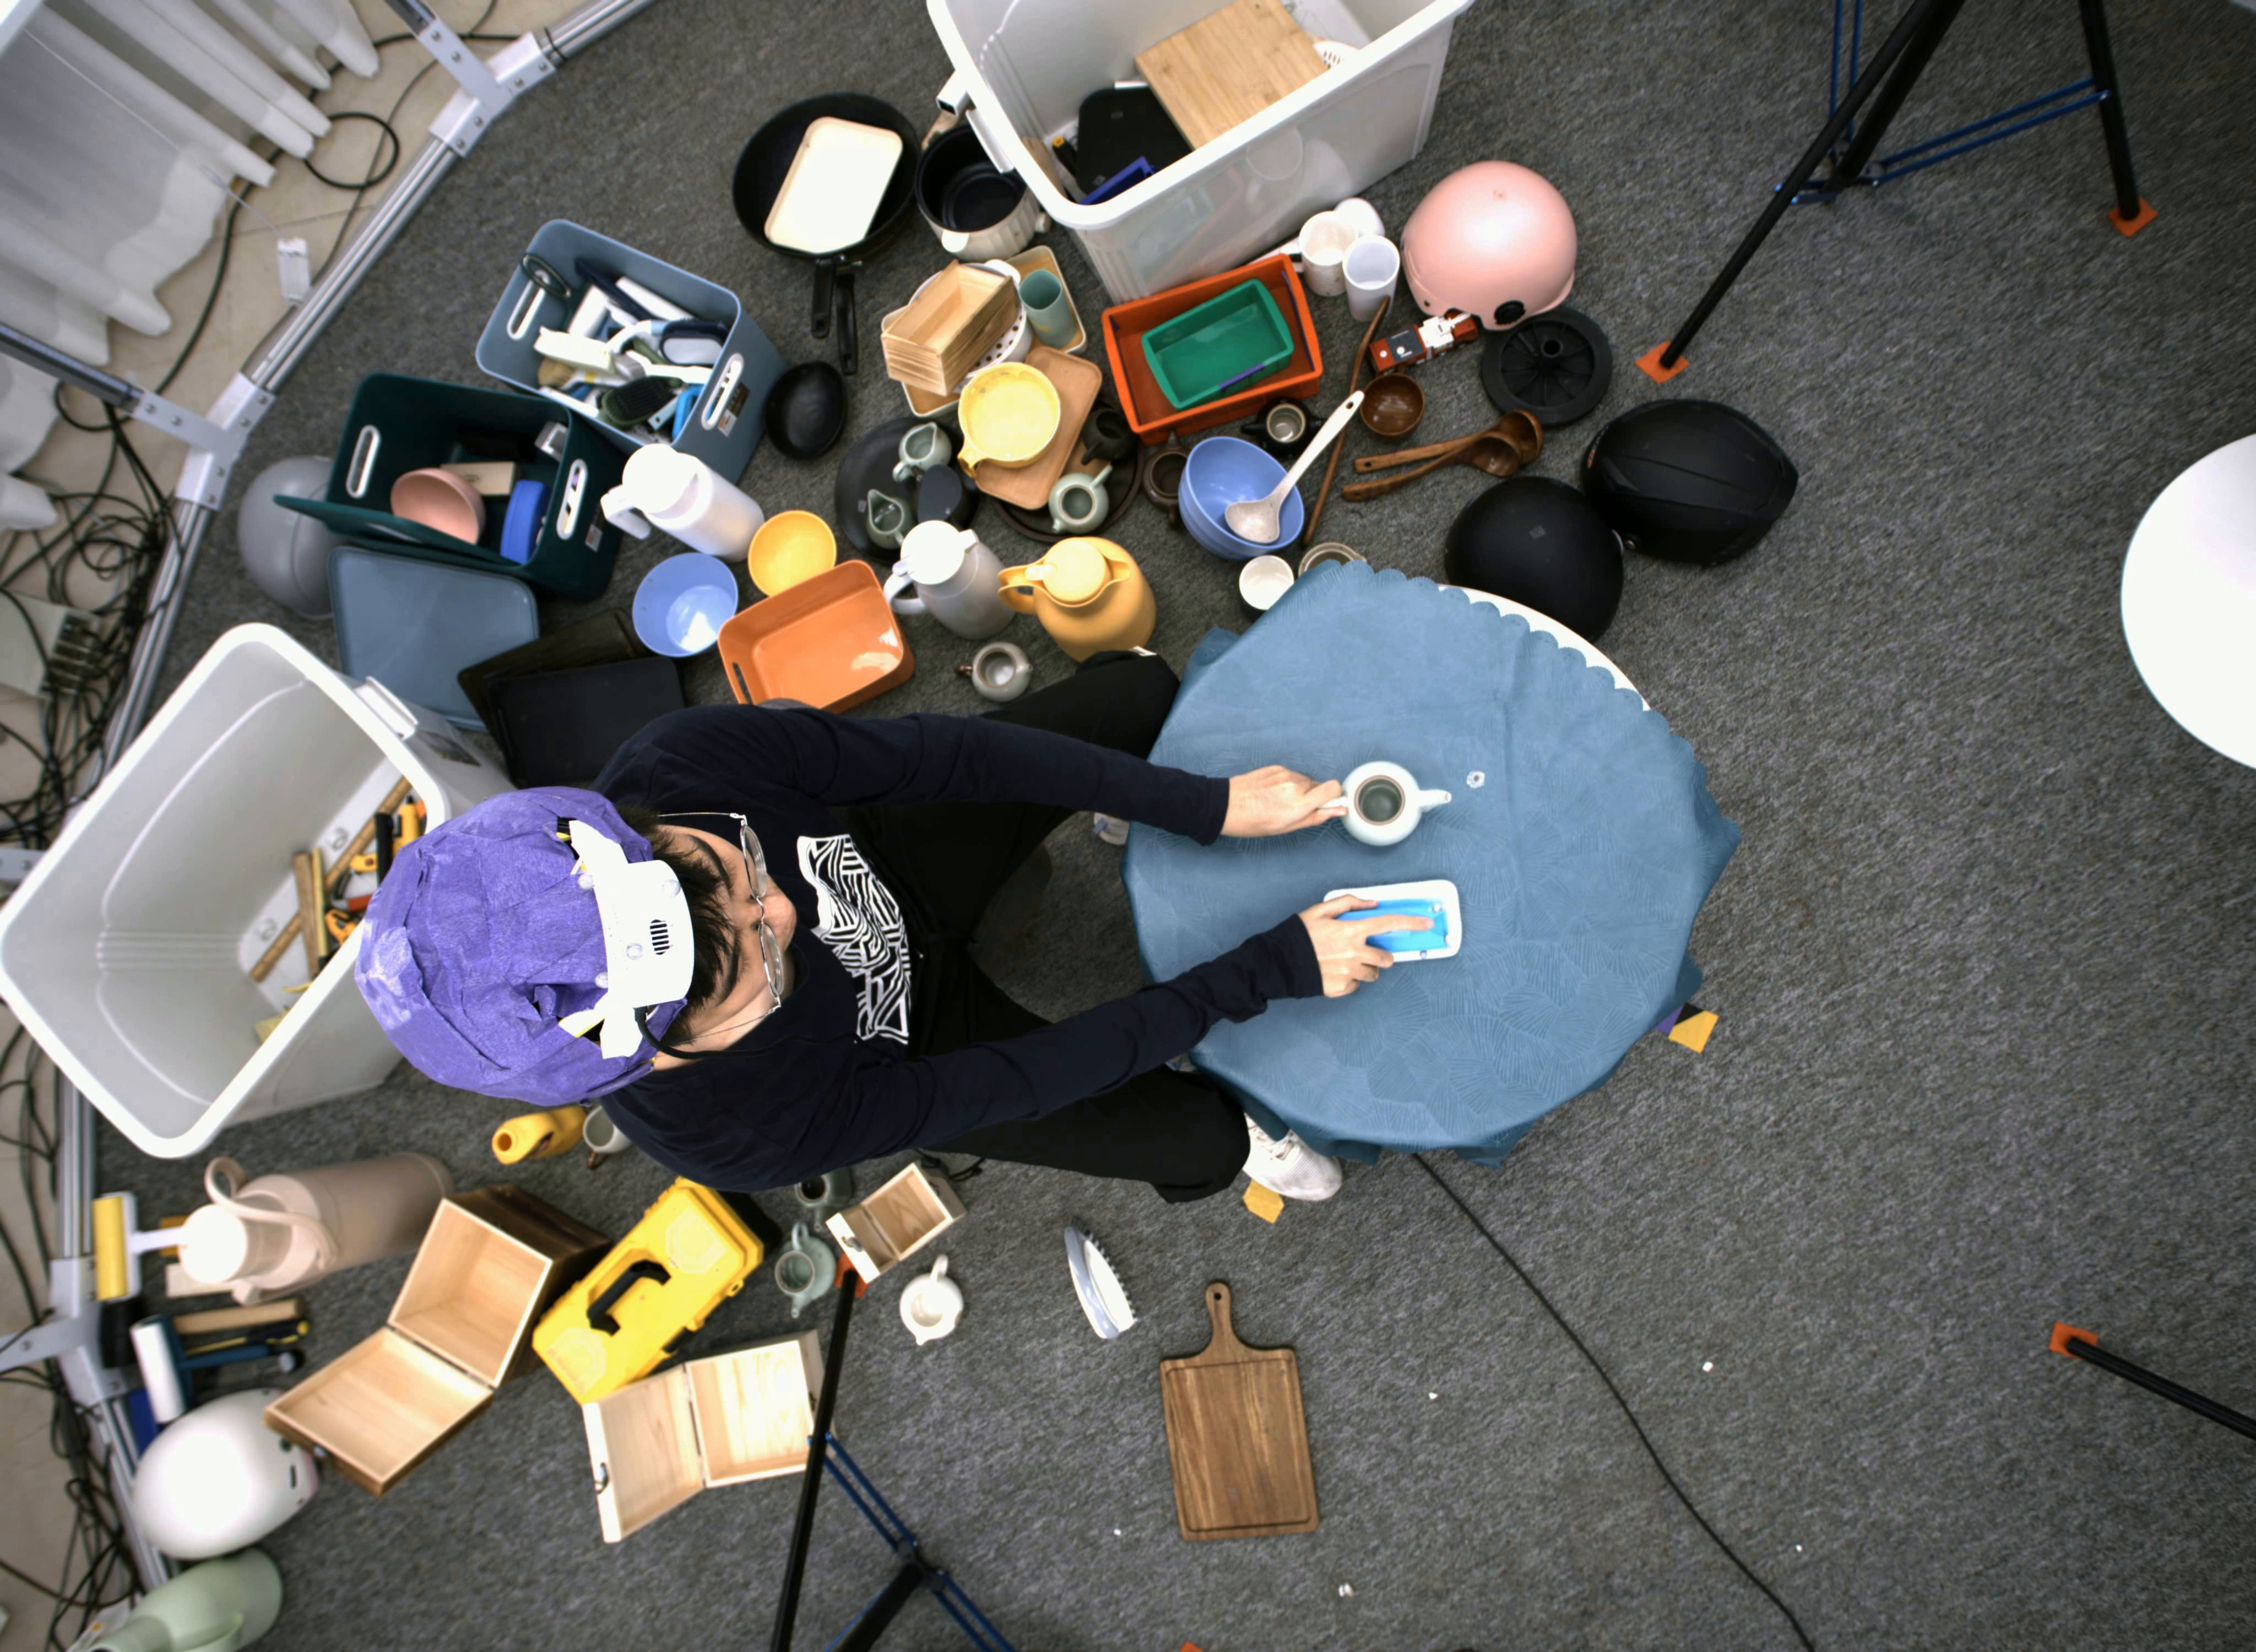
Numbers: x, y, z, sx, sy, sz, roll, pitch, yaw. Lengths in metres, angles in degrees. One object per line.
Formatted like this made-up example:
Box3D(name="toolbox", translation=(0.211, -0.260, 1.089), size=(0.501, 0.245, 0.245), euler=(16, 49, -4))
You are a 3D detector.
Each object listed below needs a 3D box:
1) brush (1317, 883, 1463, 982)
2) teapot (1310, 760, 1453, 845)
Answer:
Box3D(name="brush", translation=(0.268, 0.105, 1.414), size=(0.144, 0.056, 0.083), euler=(-13, 84, 6))
Box3D(name="teapot", translation=(0.260, -0.025, 1.428), size=(0.144, 0.075, 0.088), euler=(1, 87, 8))
